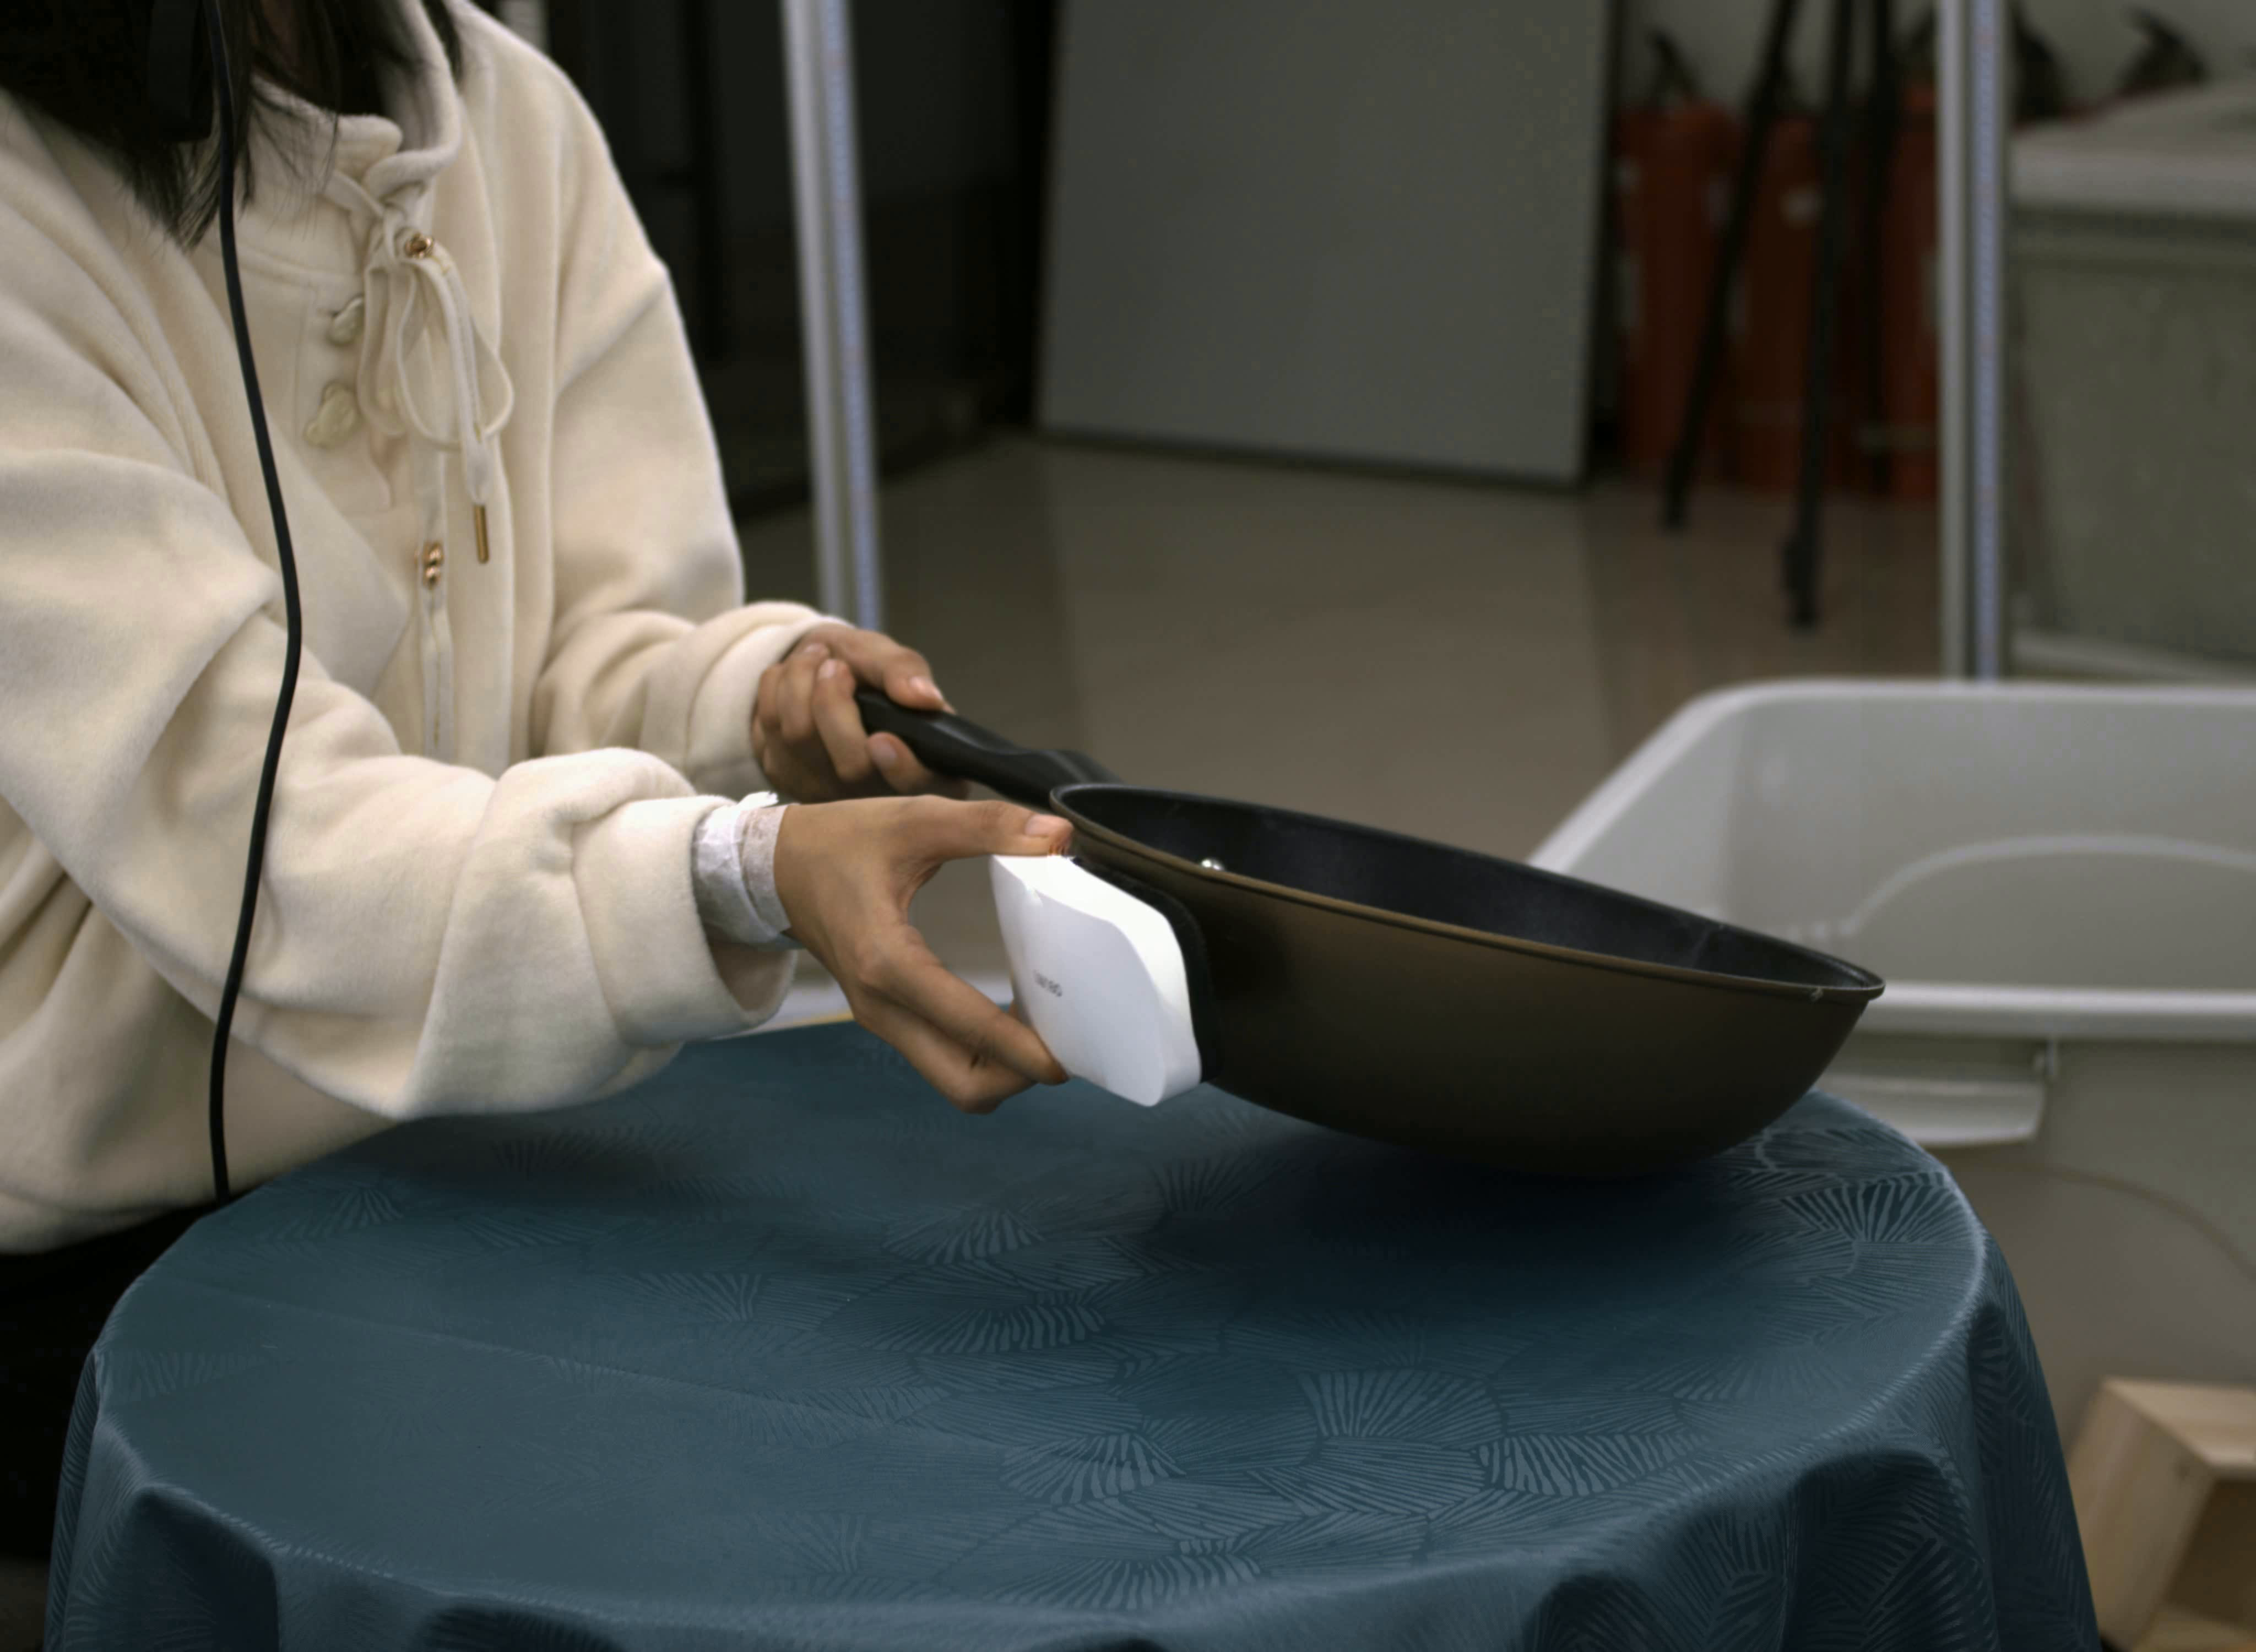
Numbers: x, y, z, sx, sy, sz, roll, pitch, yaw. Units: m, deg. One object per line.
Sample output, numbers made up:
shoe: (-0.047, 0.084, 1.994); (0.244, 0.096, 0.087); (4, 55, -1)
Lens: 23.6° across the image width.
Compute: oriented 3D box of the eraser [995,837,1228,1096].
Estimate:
eraser: (-0.009, 0.040, 1.656); (0.034, 0.064, 0.132); (-13, 14, -20)

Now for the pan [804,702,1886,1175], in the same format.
pan: (0.037, 0.036, 1.807); (0.468, 0.088, 0.282); (16, 5, 44)
